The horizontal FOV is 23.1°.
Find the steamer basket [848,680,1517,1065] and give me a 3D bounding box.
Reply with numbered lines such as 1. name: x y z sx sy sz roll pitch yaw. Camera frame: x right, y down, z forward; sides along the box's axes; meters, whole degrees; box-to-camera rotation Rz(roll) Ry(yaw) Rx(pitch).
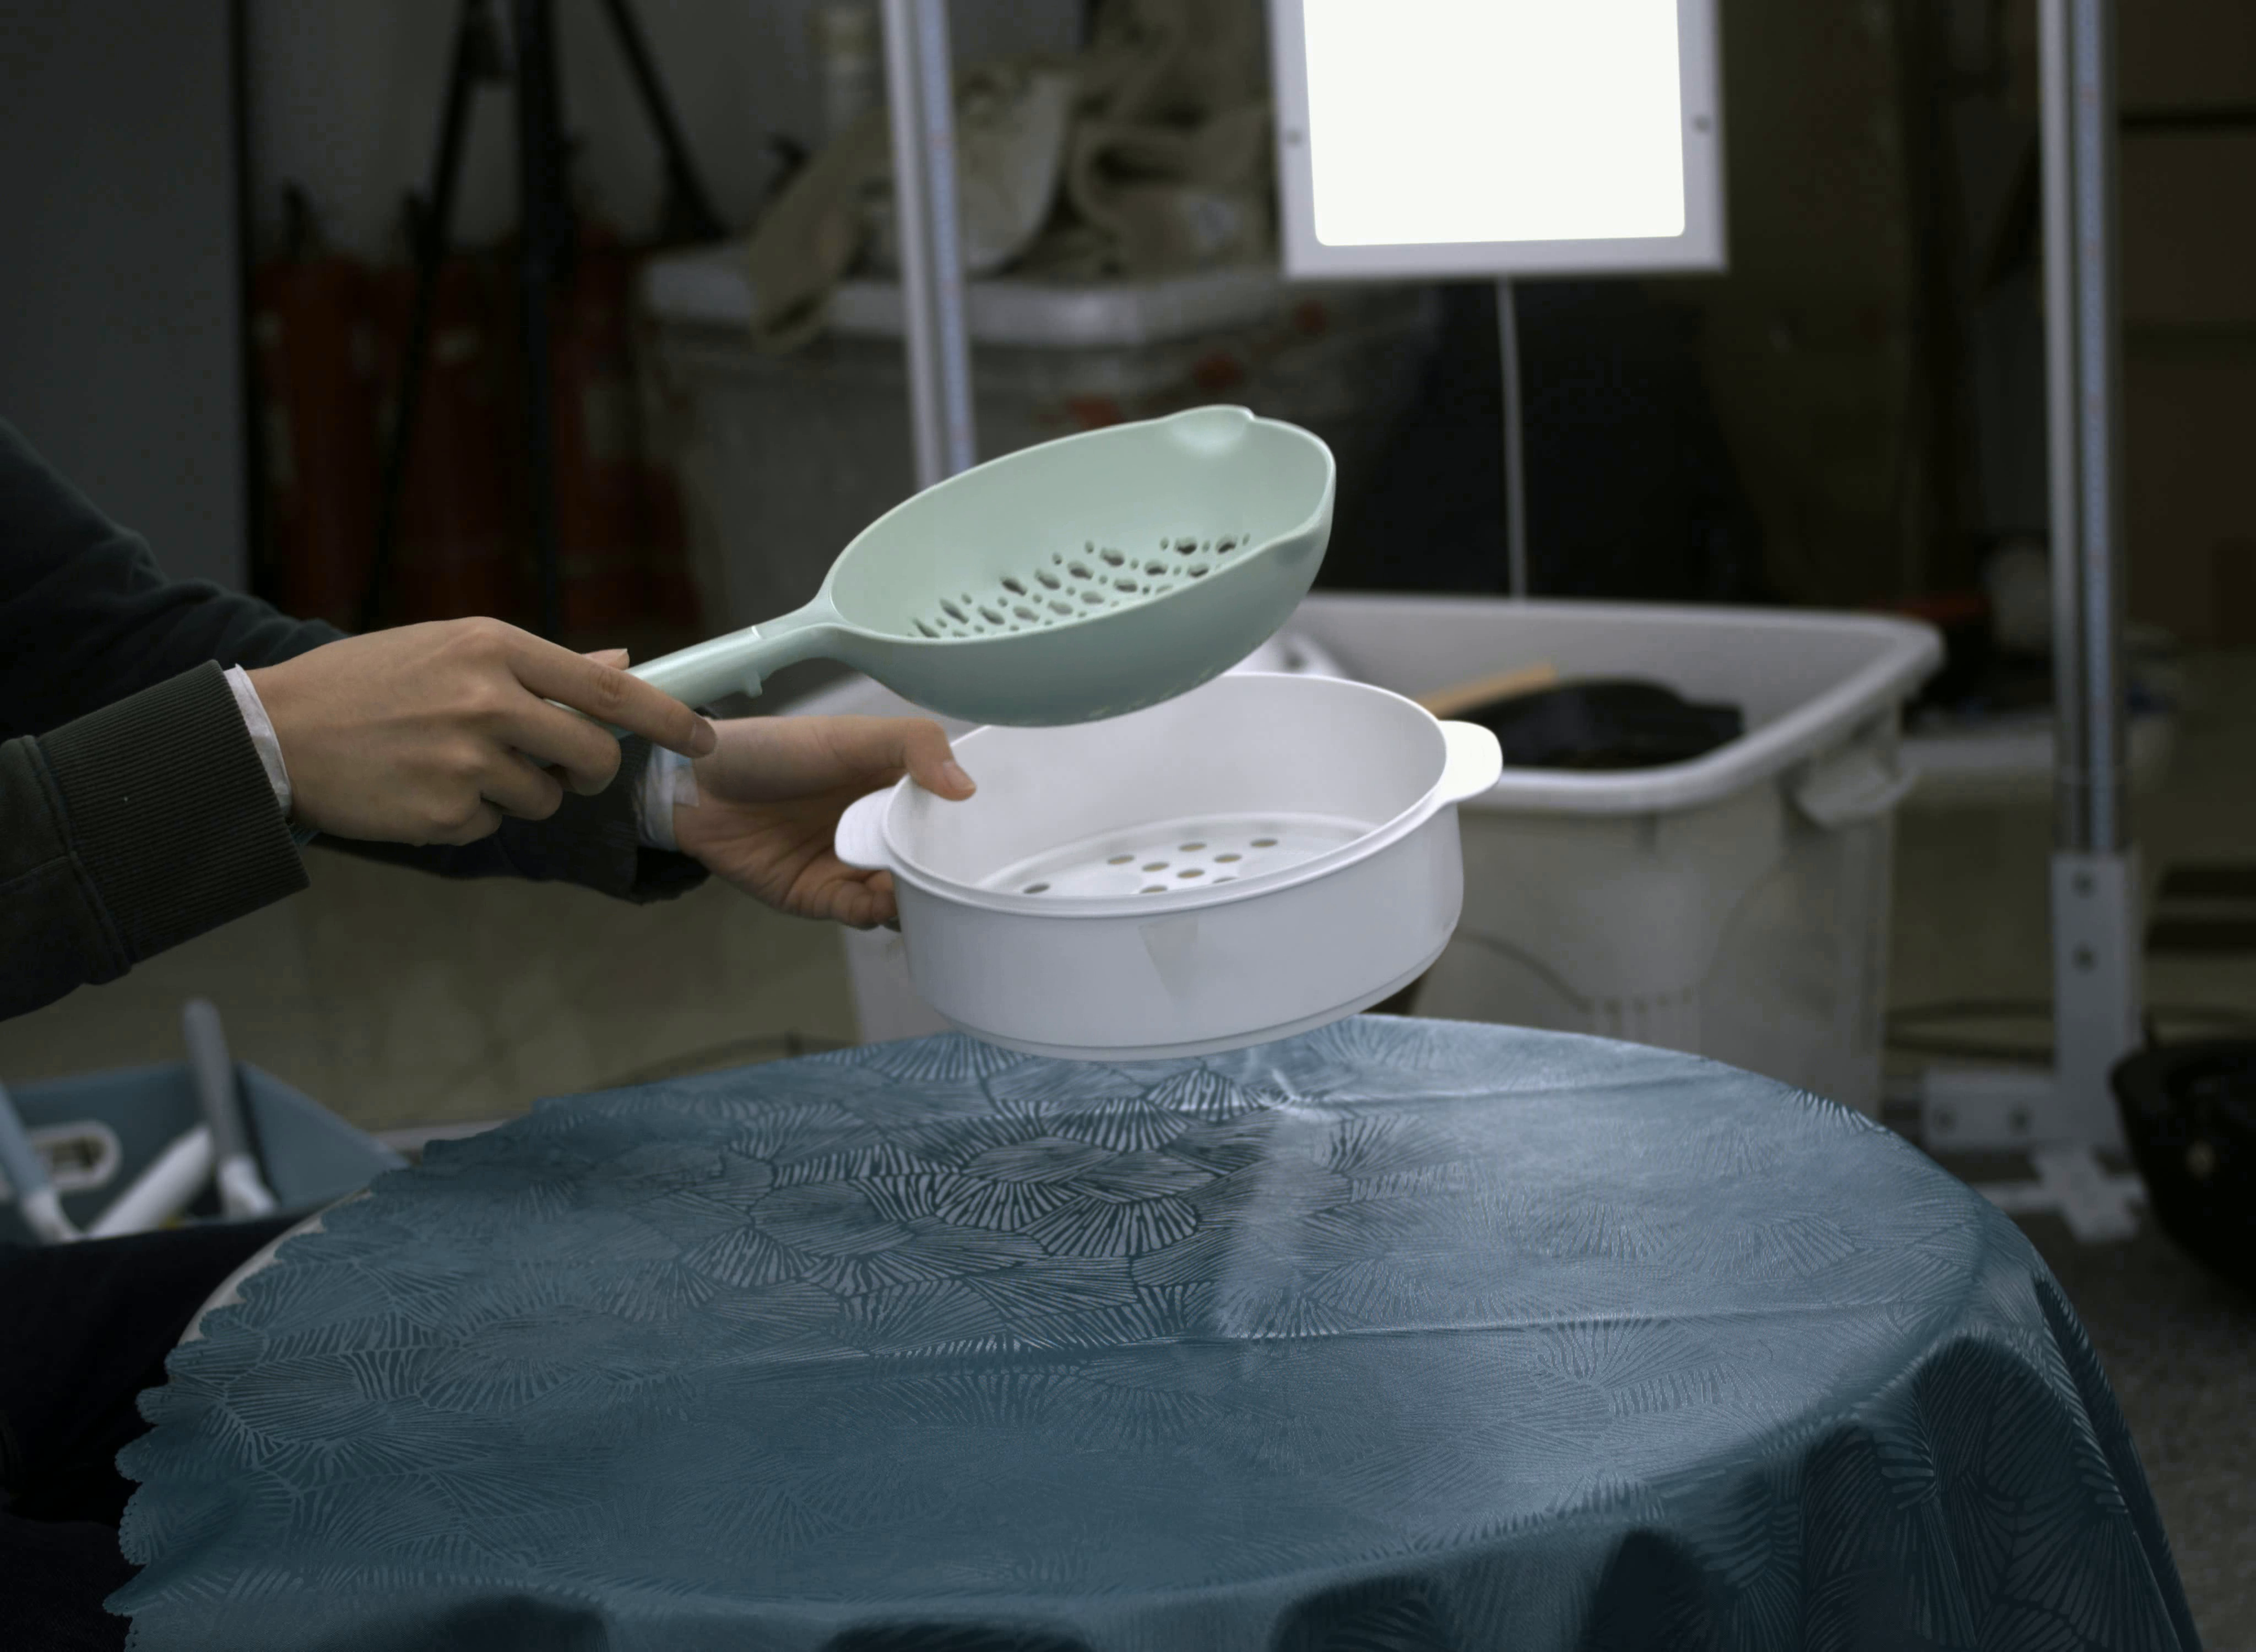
1. steamer basket: 0.022 0.016 1.881 0.231 0.069 0.201 -8 21 5

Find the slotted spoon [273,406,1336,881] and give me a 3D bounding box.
1. slotted spoon: -0.104 -0.053 1.771 0.355 0.075 0.170 -12 22 -8
